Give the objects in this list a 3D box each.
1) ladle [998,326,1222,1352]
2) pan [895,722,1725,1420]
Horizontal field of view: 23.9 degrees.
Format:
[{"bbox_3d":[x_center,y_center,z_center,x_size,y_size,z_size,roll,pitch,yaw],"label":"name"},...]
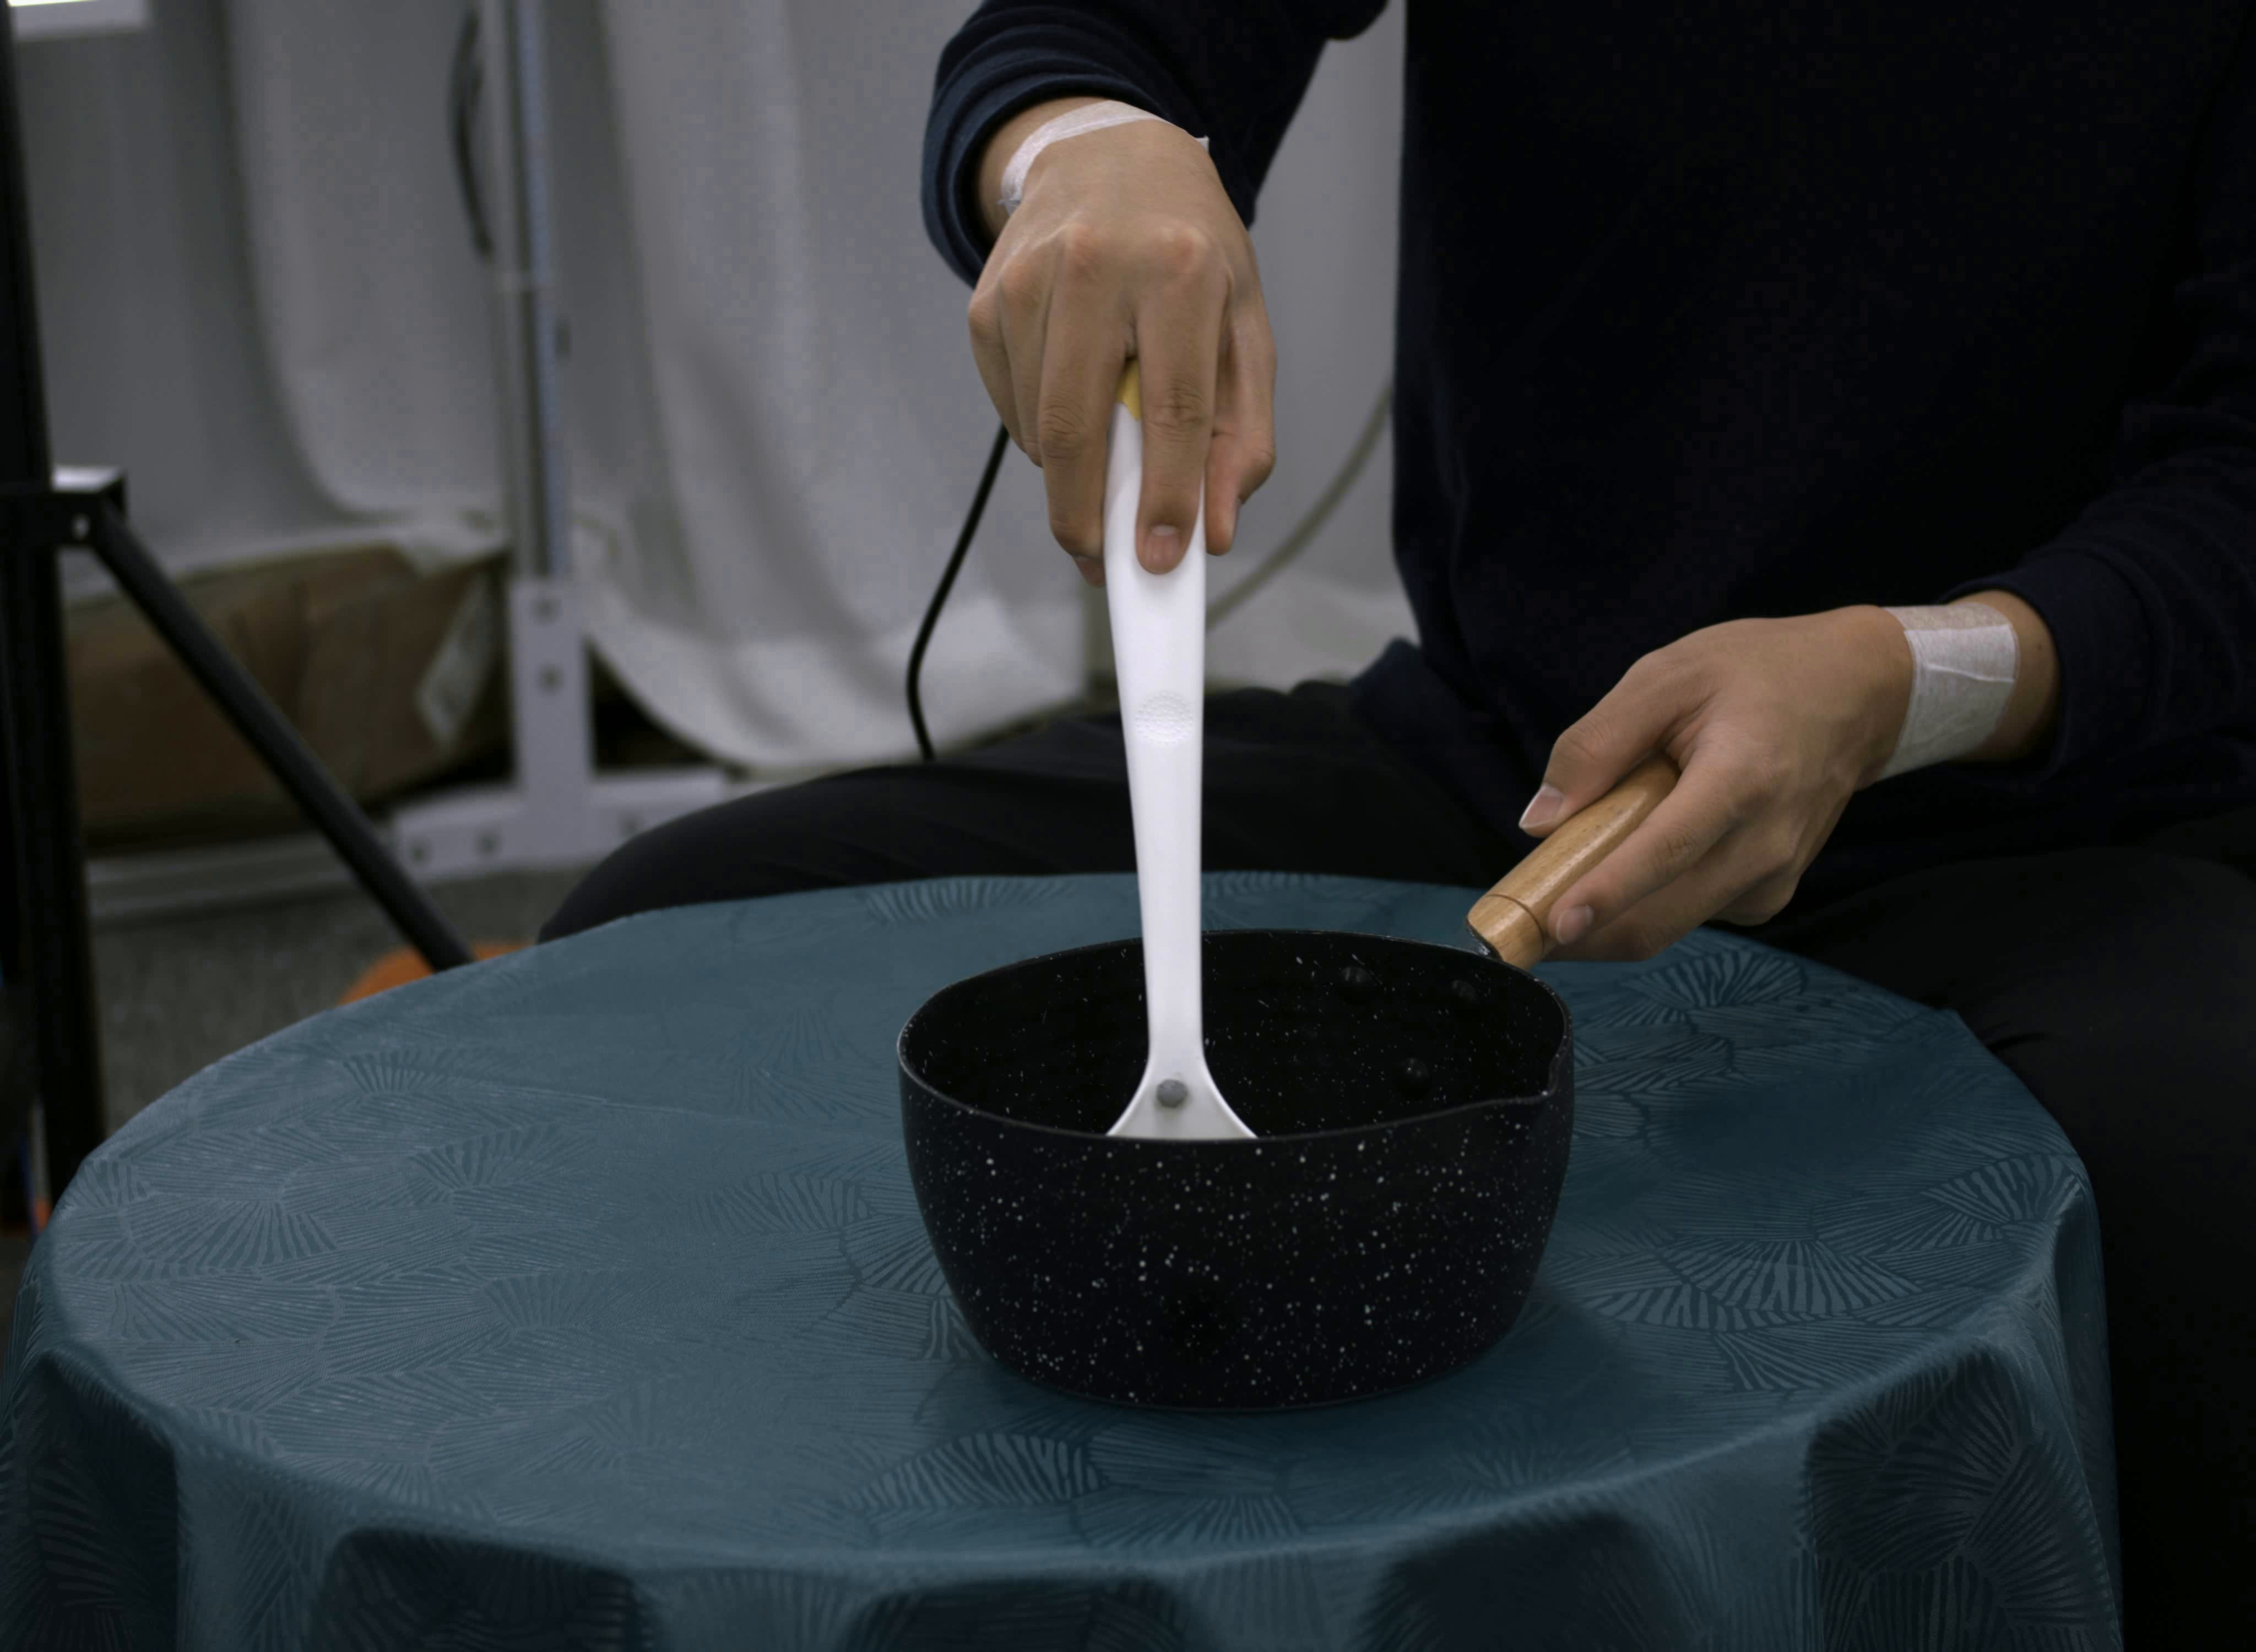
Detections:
[{"bbox_3d":[0.003,0.001,1.453,0.090,0.295,0.069,-5,-13,10],"label":"ladle"},{"bbox_3d":[0.075,0.064,1.502,0.211,0.108,0.336,7,20,35],"label":"pan"}]
